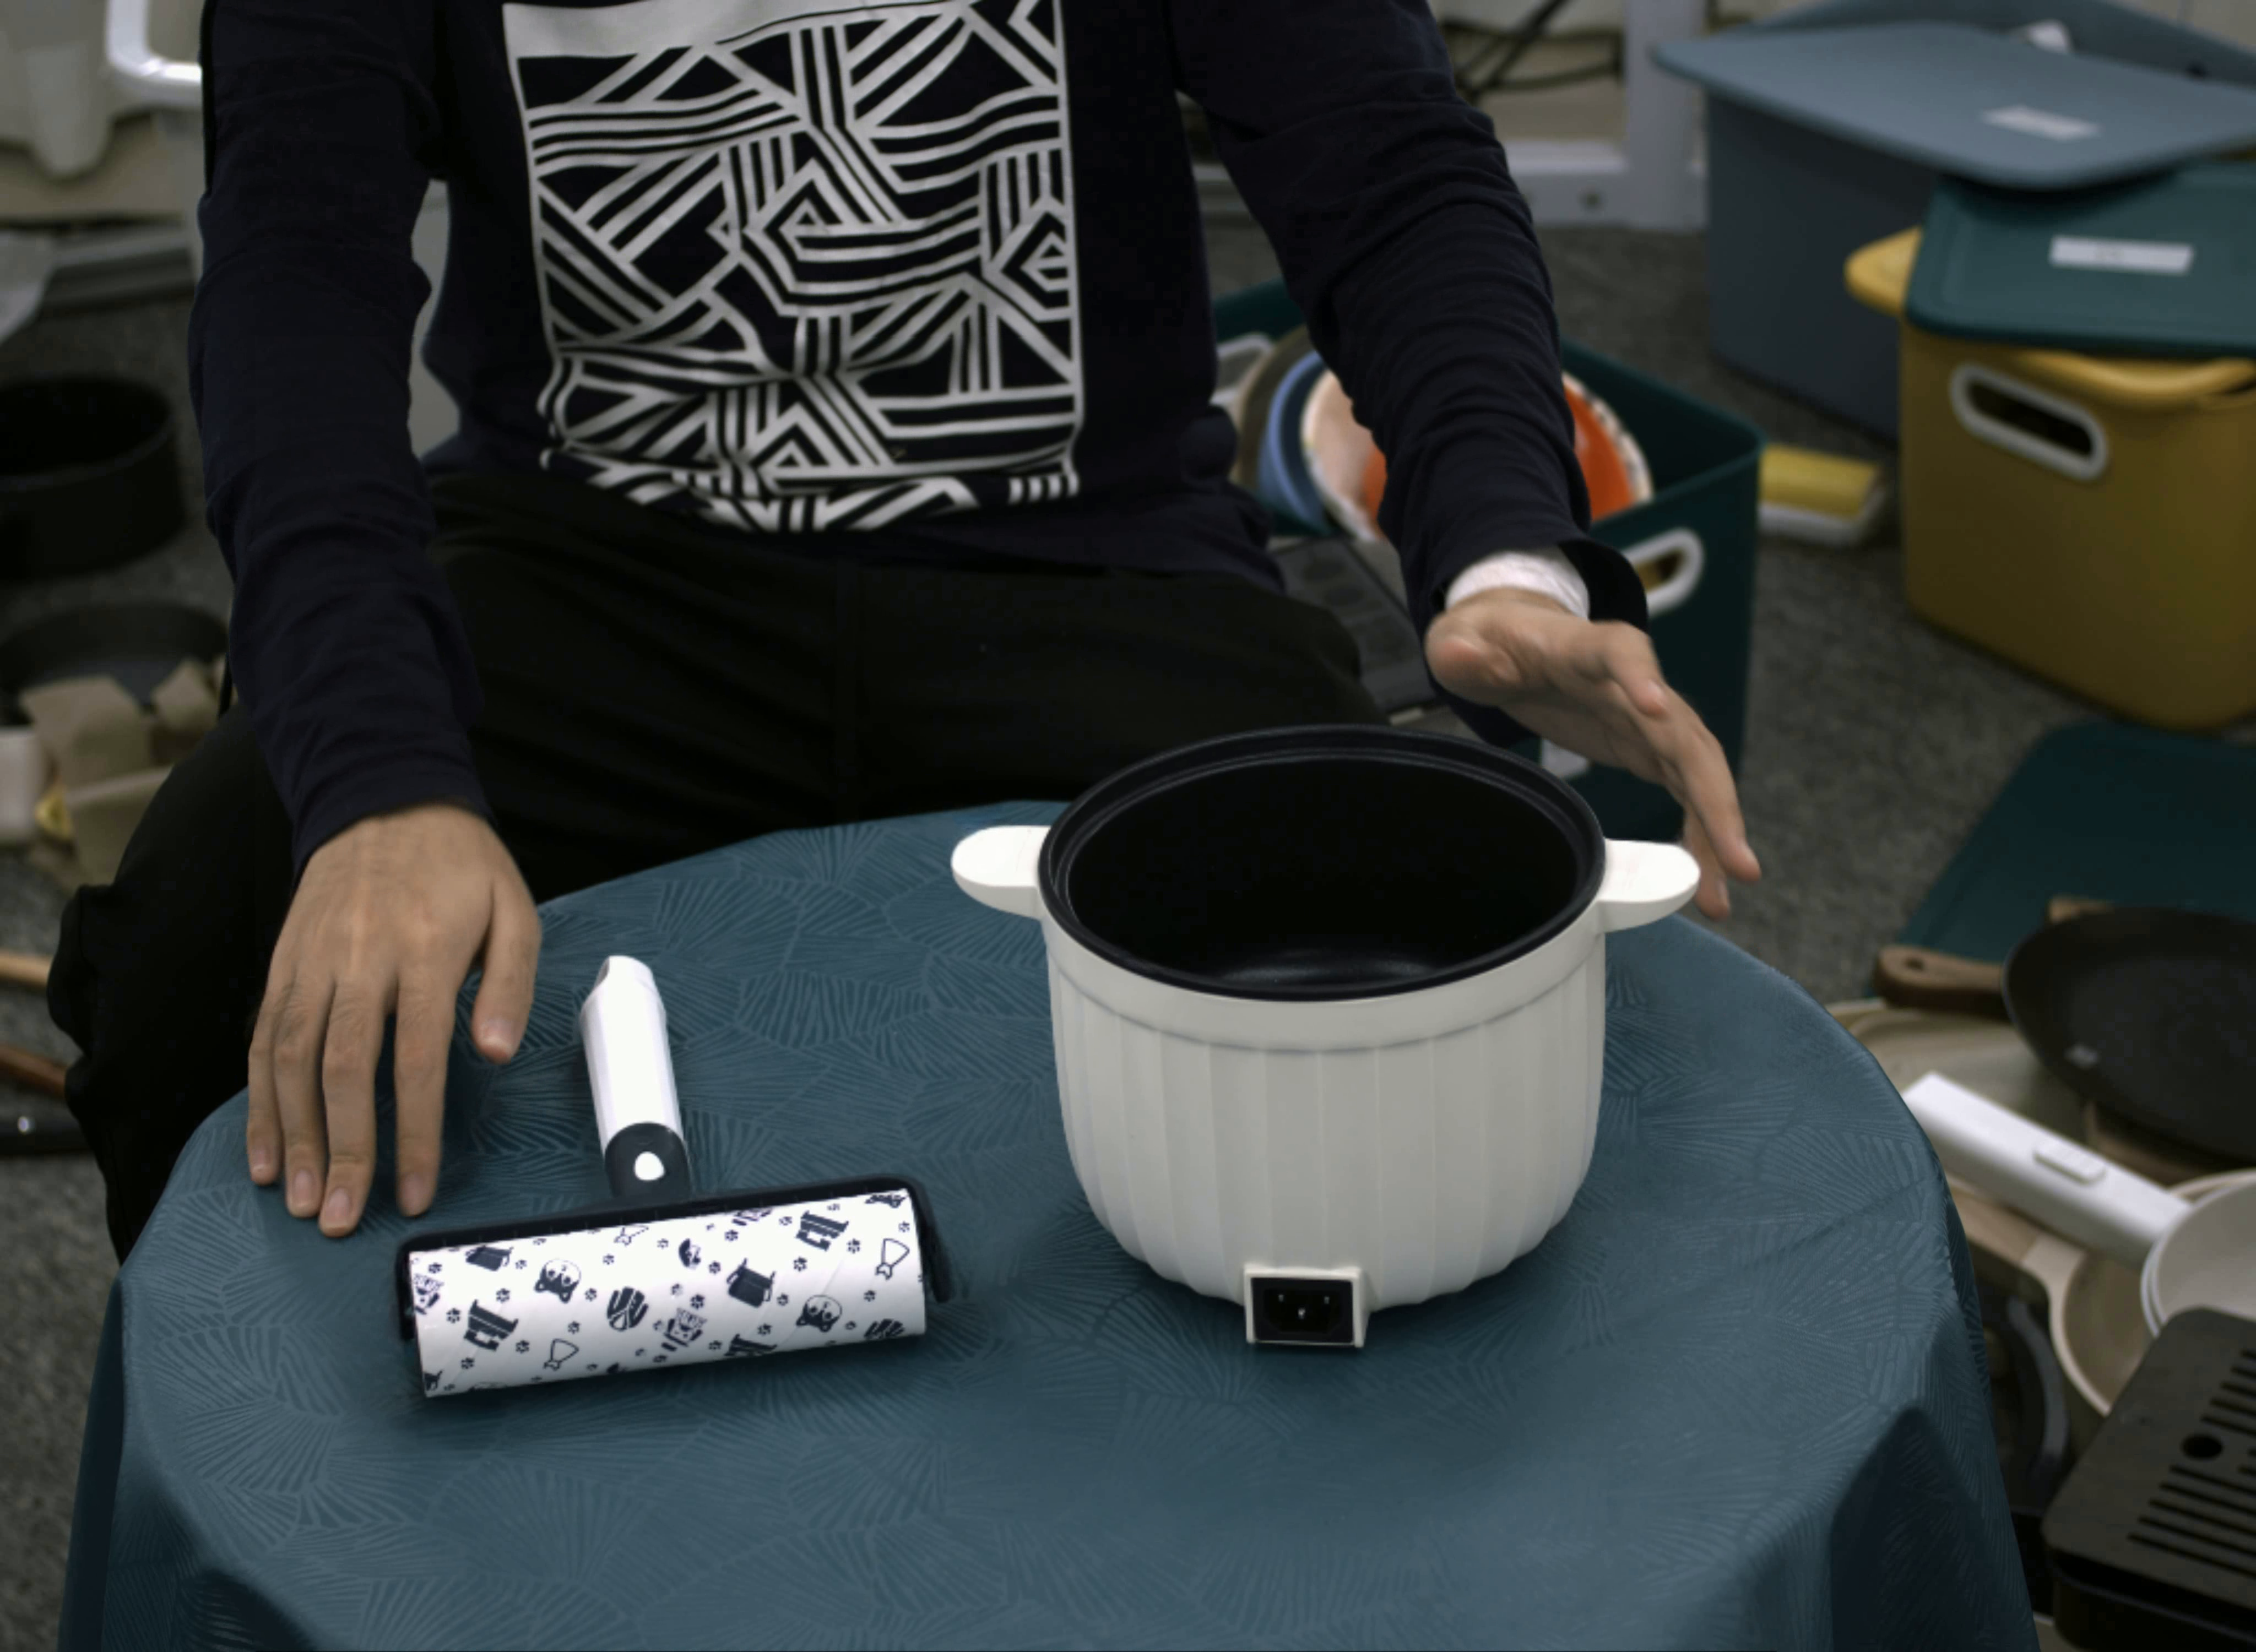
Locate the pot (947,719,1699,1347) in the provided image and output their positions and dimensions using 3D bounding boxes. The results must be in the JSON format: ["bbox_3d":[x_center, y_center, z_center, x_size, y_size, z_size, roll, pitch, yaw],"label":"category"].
[{"bbox_3d":[0.064,0.064,1.818,0.239,0.141,0.194,2,30,7],"label":"pot"}]

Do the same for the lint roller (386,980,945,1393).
[{"bbox_3d":[-0.163,0.105,1.865,0.176,0.050,0.250,-8,25,-7],"label":"lint roller"}]
